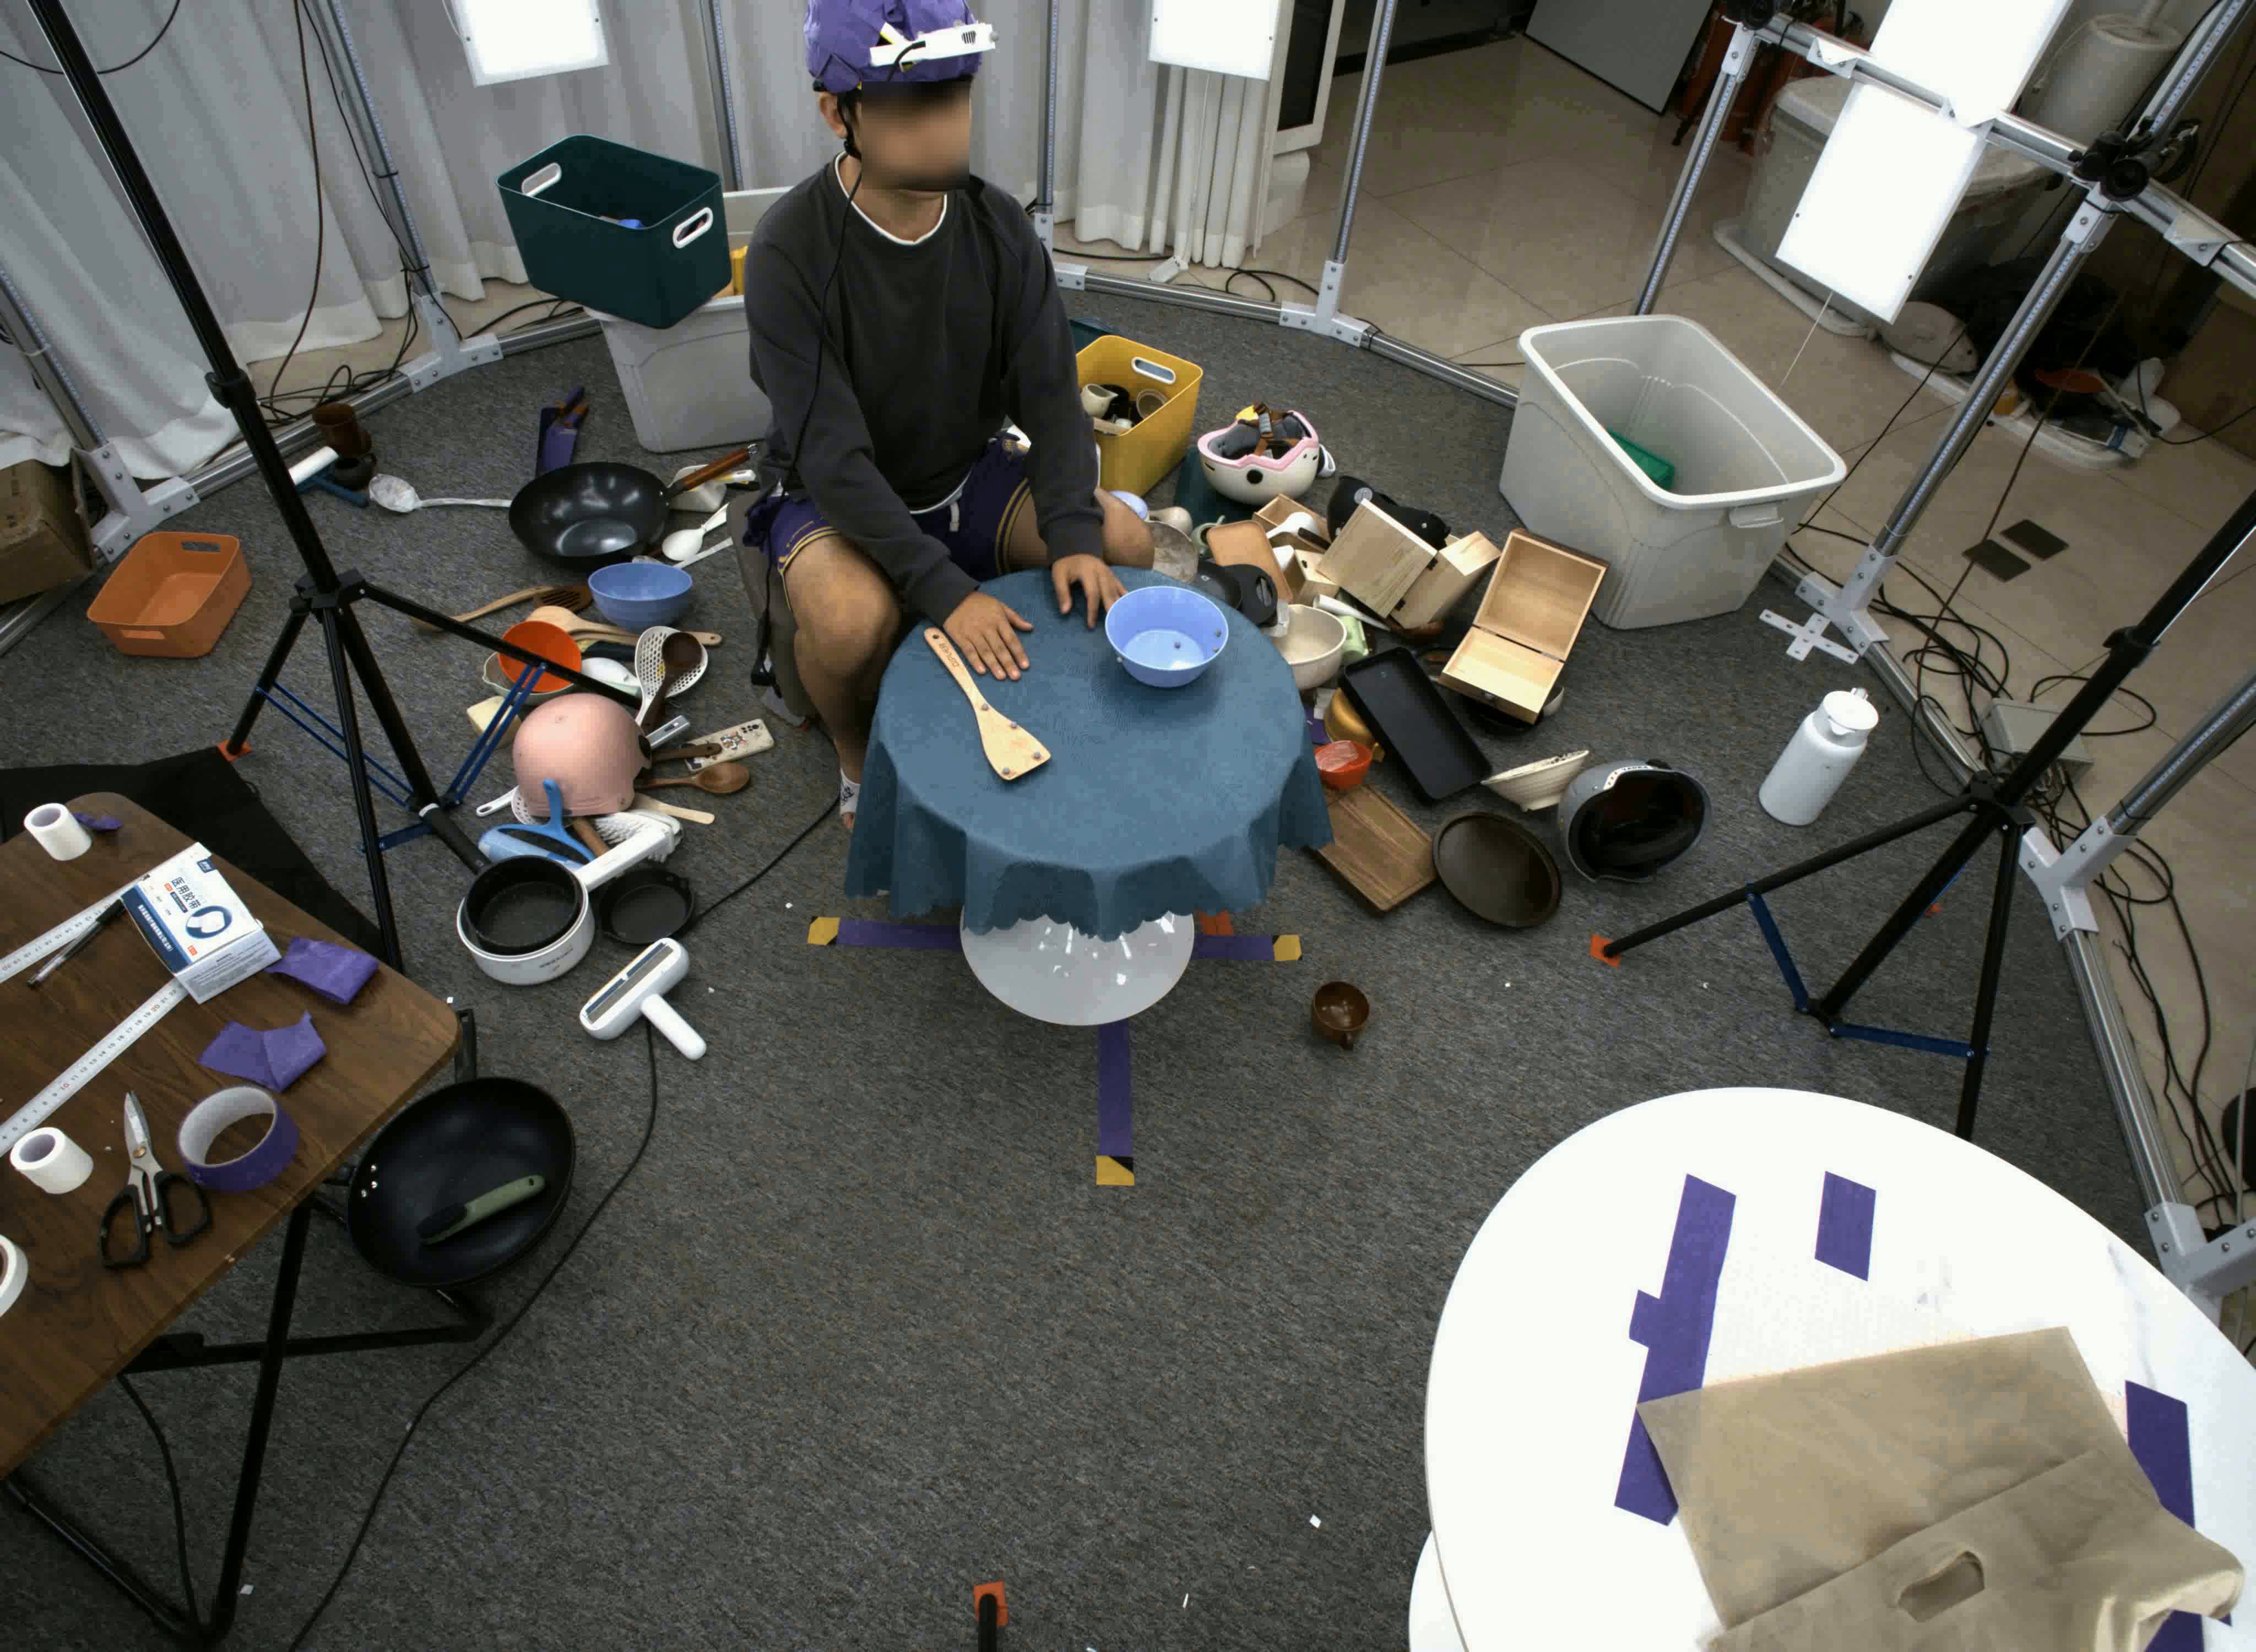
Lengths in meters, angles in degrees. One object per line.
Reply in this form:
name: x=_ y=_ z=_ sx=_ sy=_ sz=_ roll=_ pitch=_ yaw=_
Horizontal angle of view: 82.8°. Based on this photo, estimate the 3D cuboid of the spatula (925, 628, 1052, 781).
spatula: x=-0.208 y=-0.179 z=1.798 sx=0.080 sy=0.016 sz=0.334 roll=-21 pitch=53 yaw=-20

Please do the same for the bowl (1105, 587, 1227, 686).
bowl: x=0.052 y=-0.265 z=1.855 sx=0.176 sy=0.068 sz=0.180 roll=2 pitch=49 yaw=-2
